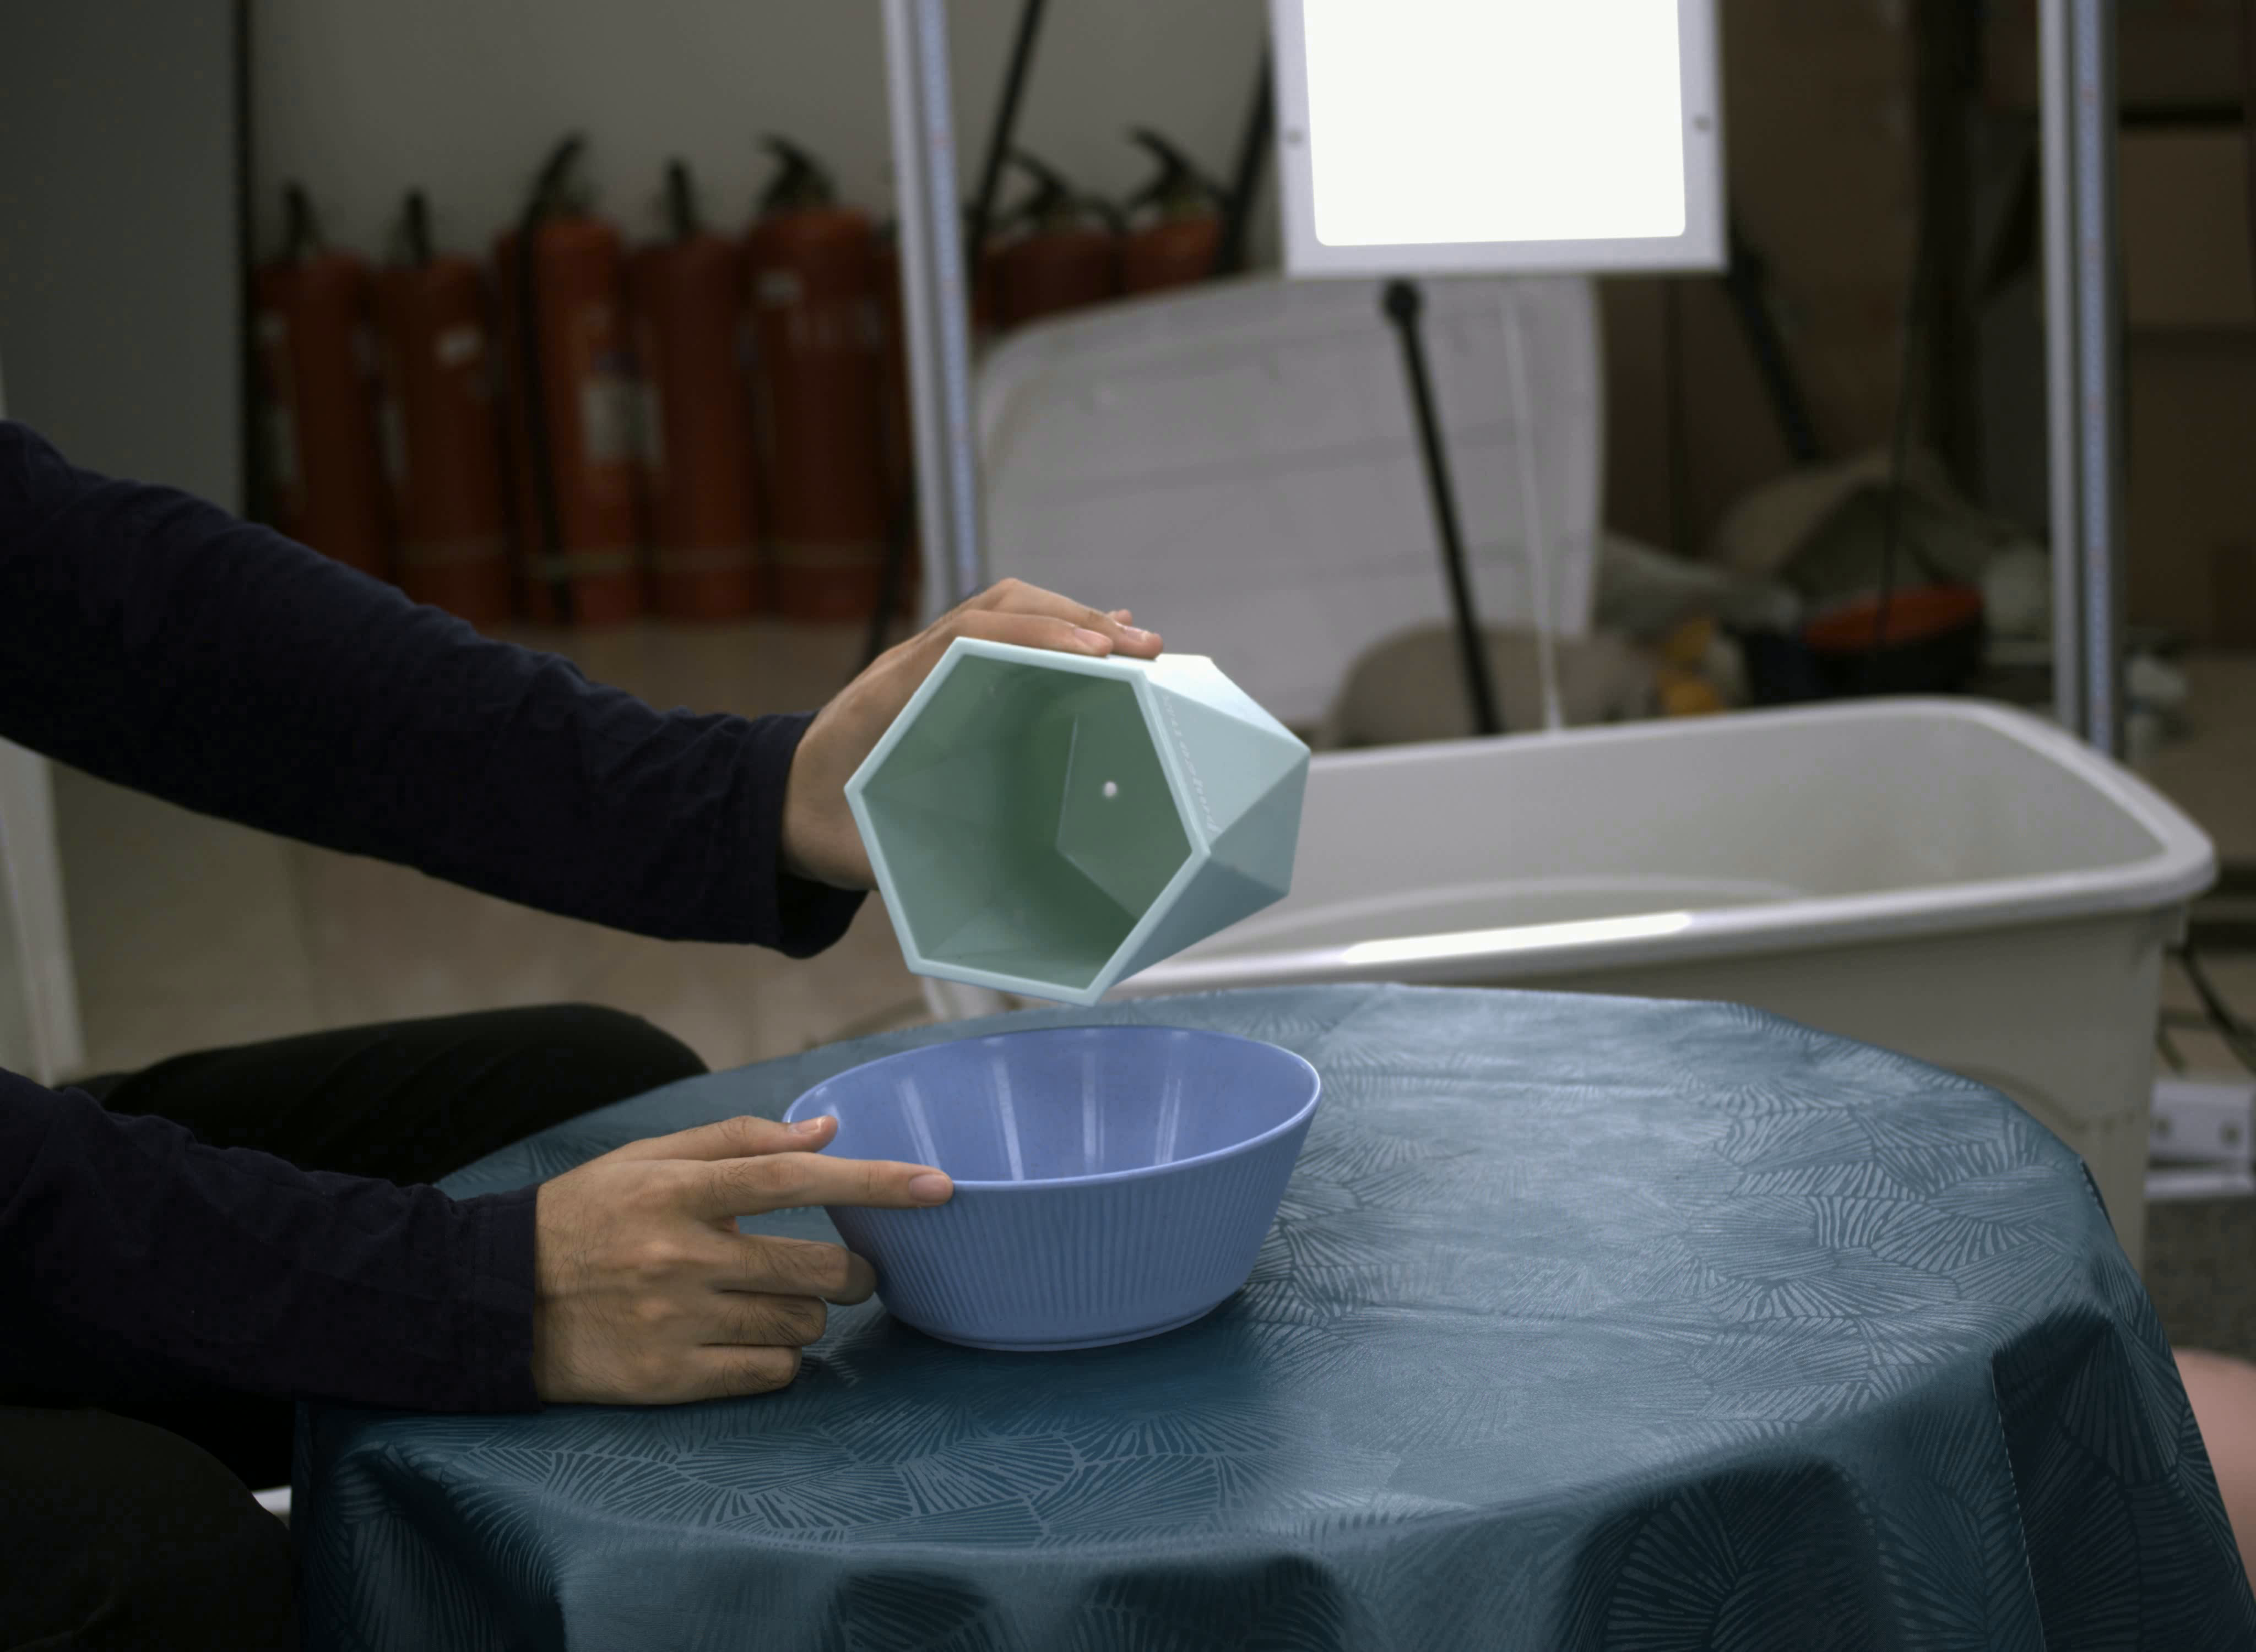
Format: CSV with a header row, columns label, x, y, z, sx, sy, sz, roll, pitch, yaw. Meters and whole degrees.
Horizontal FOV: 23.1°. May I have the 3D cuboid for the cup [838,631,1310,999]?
label,x,y,z,sx,sy,sz,roll,pitch,yaw
cup,-0.008,-0.006,1.890,0.117,0.131,0.160,-25,-7,21

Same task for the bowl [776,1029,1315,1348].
label,x,y,z,sx,sy,sz,roll,pitch,yaw
bowl,-0.024,0.120,1.786,0.175,0.070,0.176,-5,13,0
